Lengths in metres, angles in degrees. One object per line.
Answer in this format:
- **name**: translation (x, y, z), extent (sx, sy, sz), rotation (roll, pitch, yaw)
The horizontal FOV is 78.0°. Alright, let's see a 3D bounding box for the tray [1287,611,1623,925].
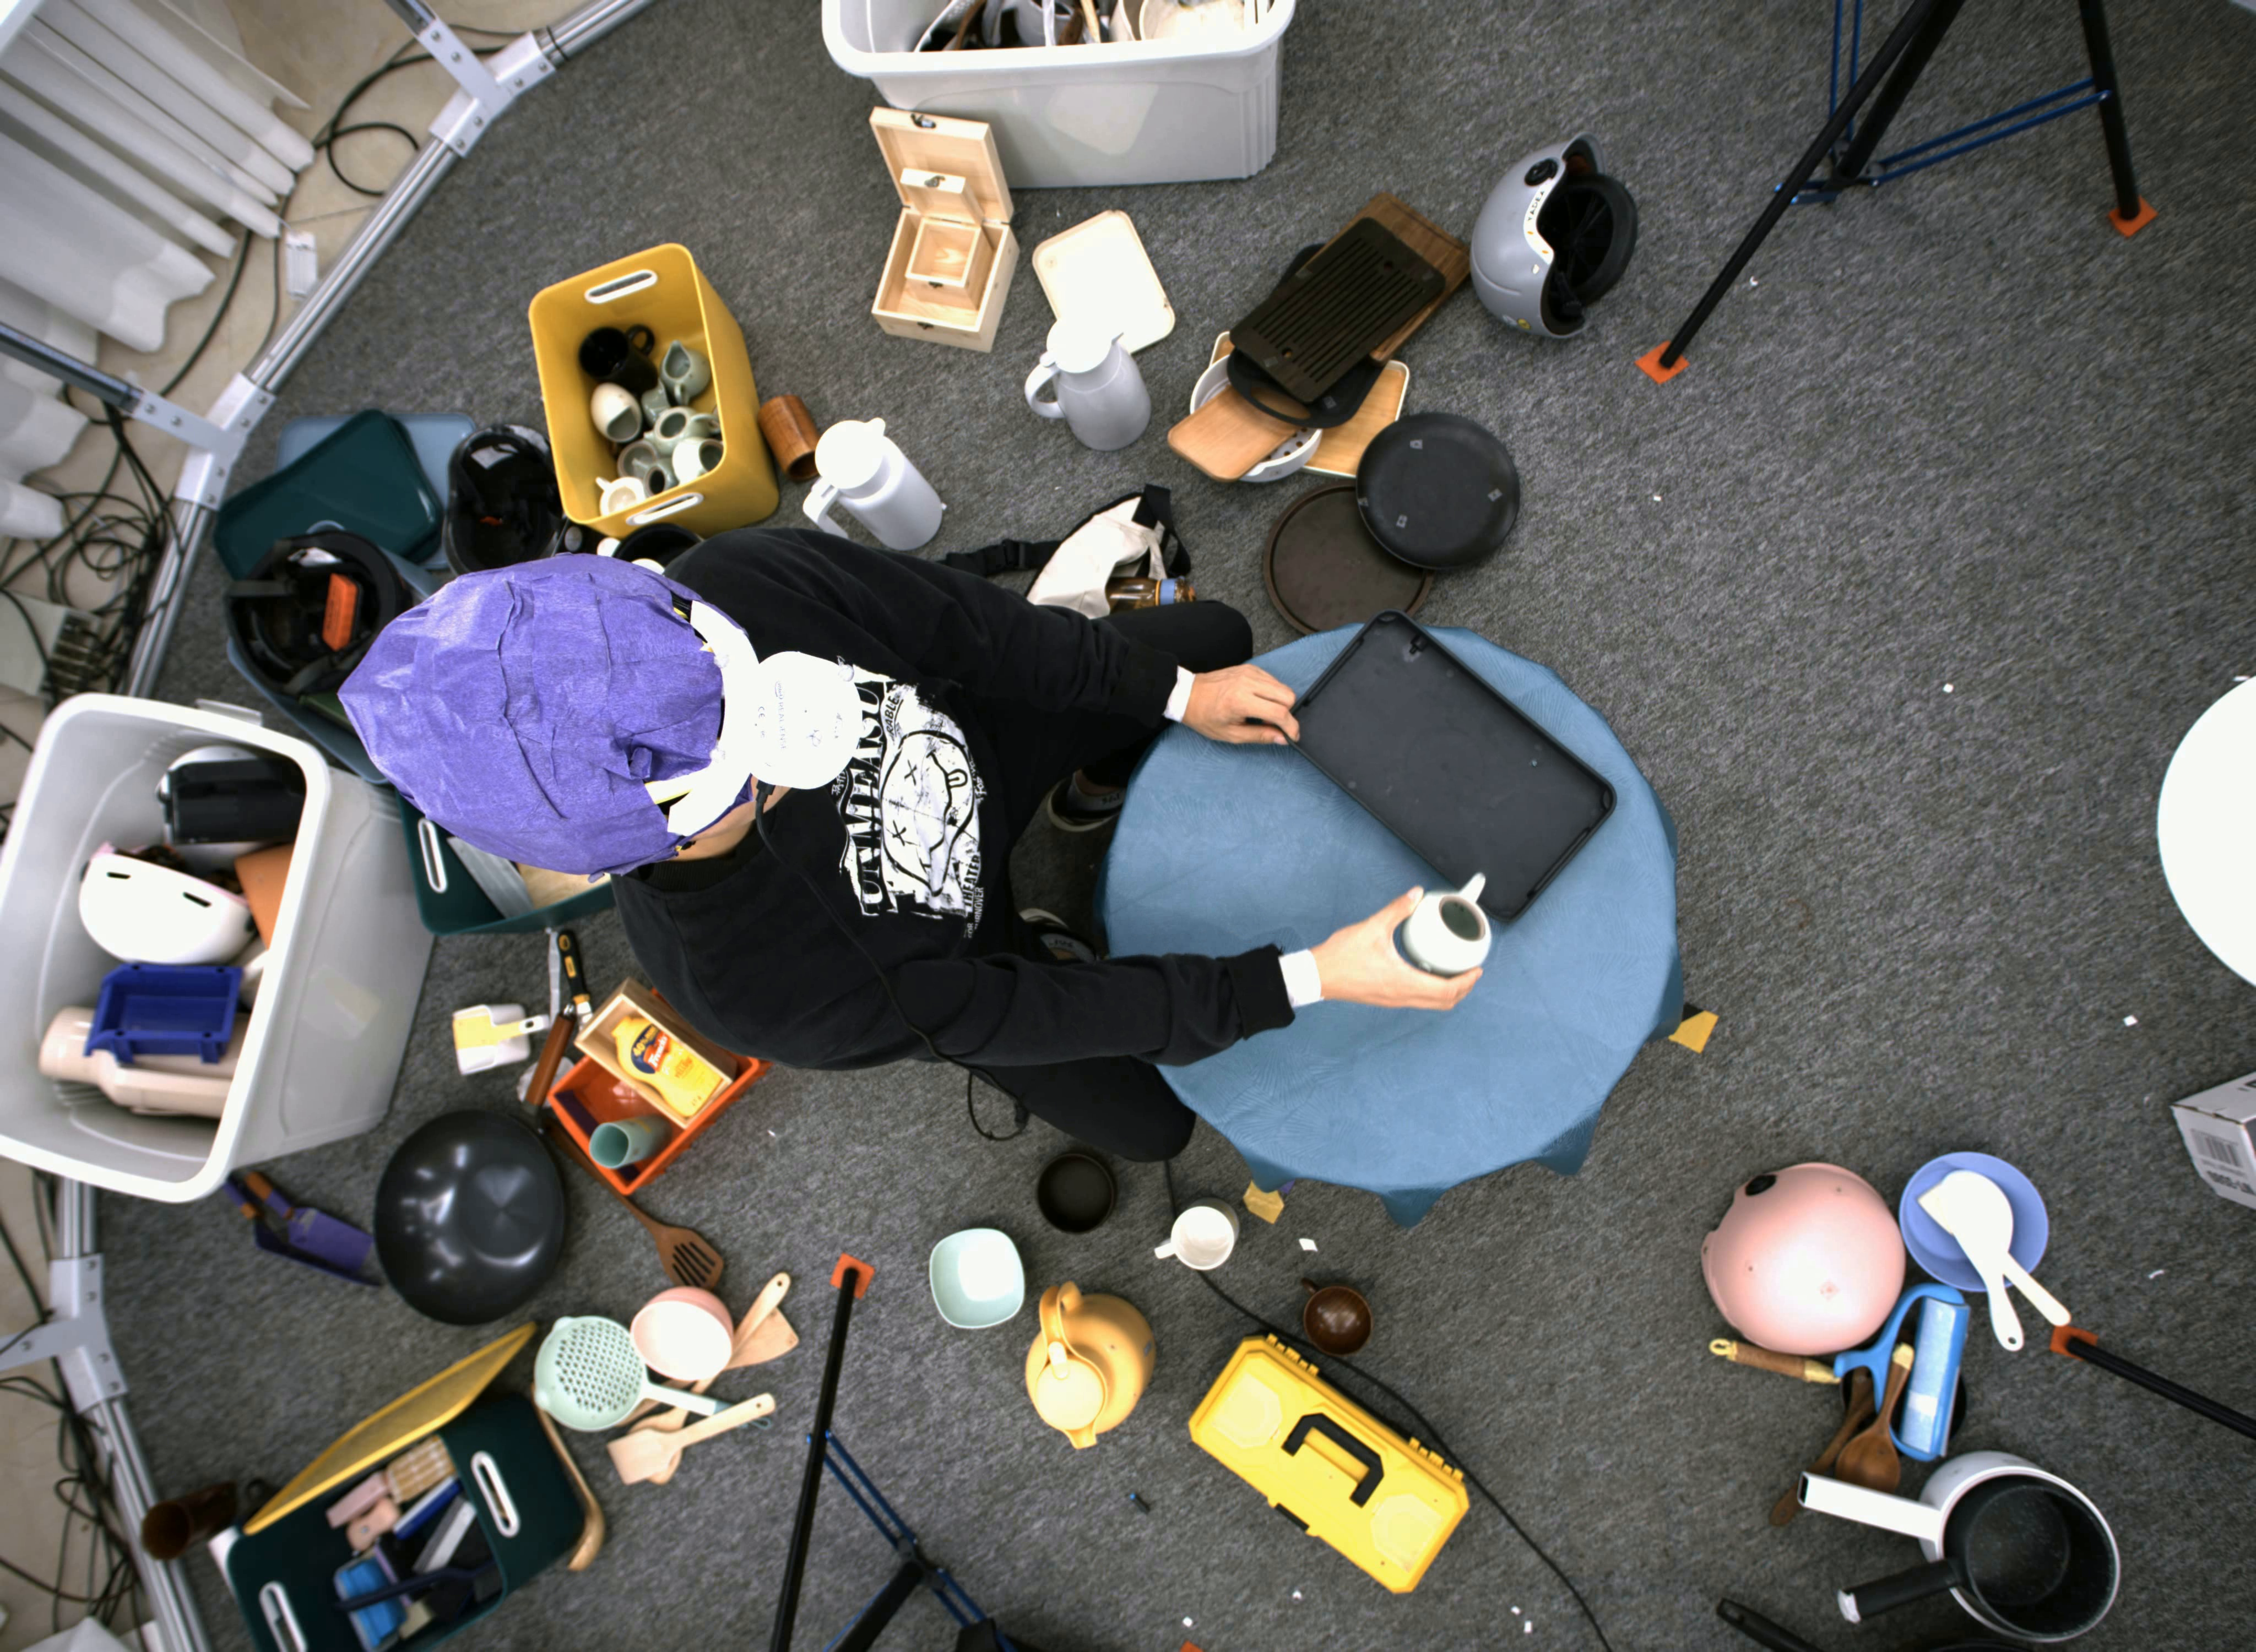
- **tray**: translation (0.336, -0.062, 1.424), extent (0.317, 0.037, 0.184), rotation (40, 92, 5)

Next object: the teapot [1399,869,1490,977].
- **teapot**: translation (0.305, 0.099, 1.327), extent (0.088, 0.140, 0.076), rotation (37, 135, 4)
